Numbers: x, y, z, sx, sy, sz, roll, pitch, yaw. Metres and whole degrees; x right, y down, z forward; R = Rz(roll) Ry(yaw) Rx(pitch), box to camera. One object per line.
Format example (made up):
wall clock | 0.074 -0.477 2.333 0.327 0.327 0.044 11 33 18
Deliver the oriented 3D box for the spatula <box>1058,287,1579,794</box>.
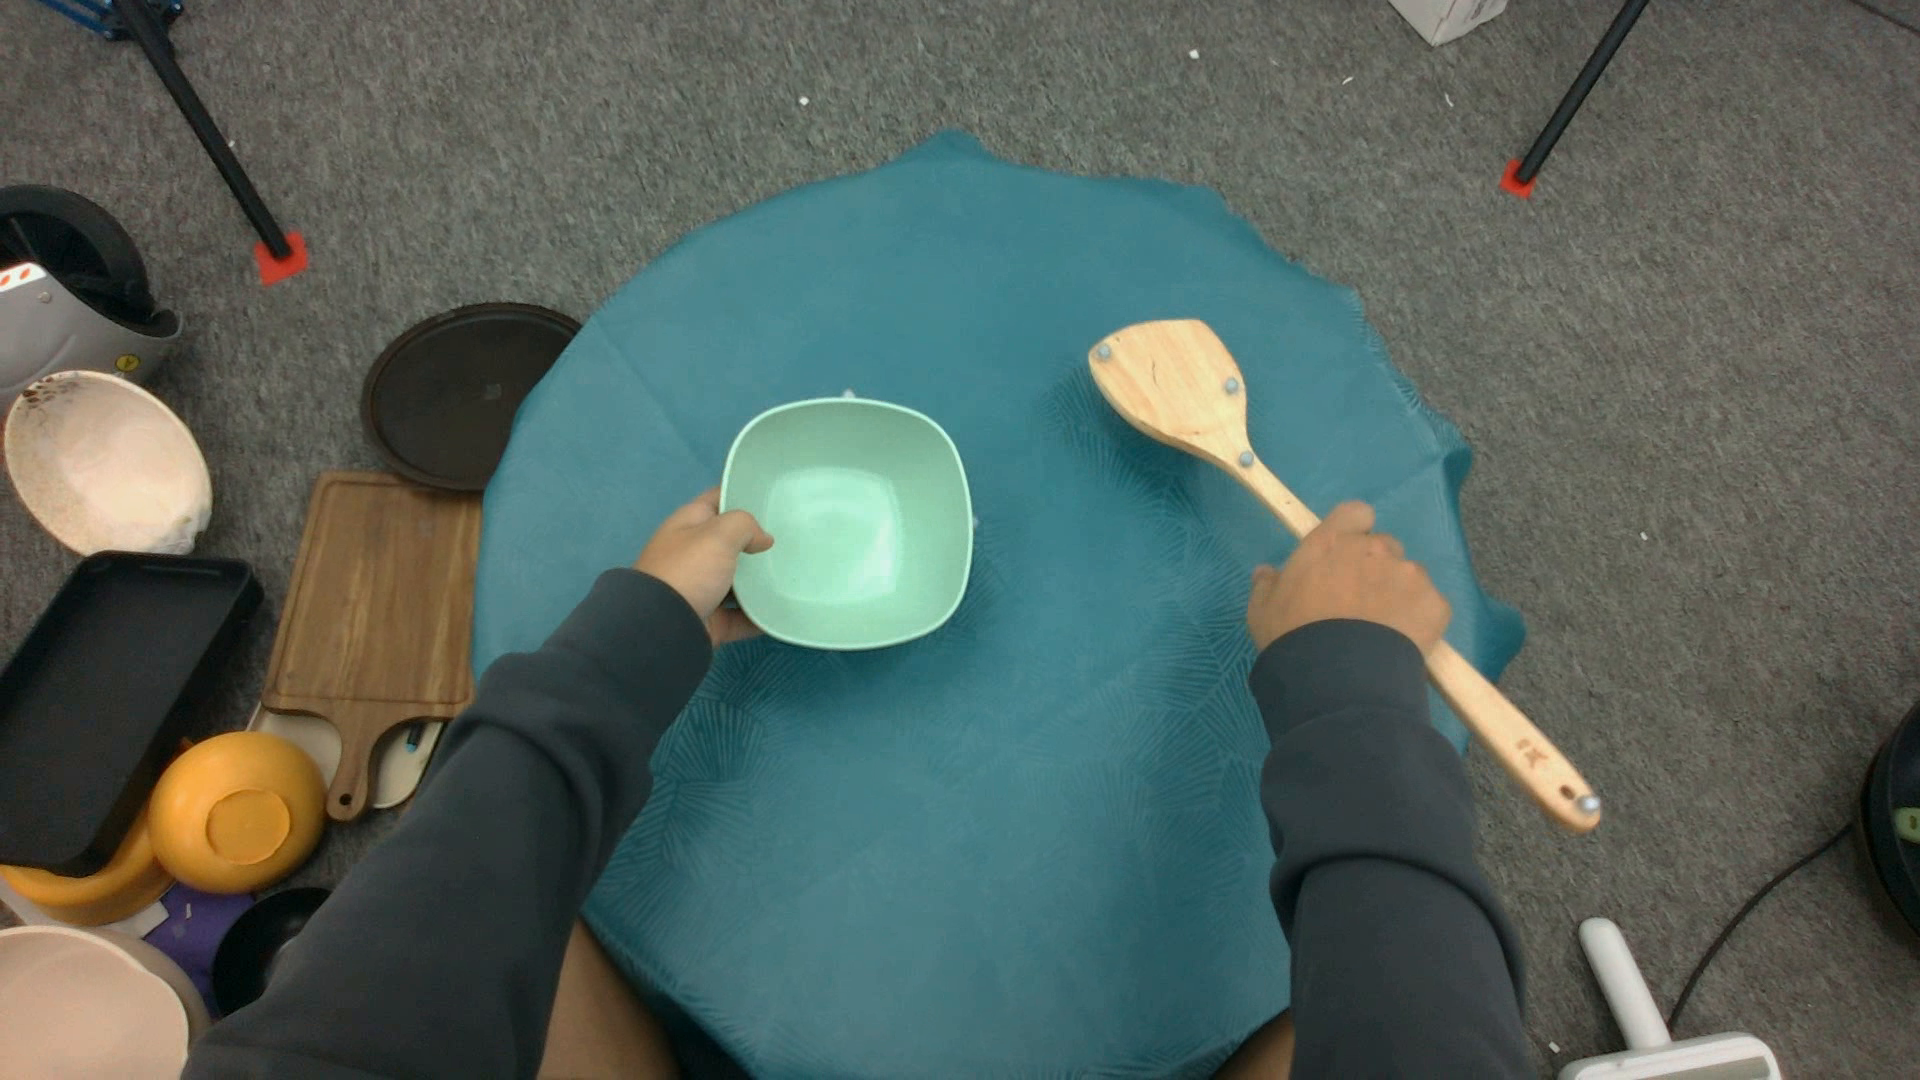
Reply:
spatula | 0.194 -0.015 0.765 0.096 0.018 0.391 -24 57 -25

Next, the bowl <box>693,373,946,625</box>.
bowl | -0.082 -0.018 0.764 0.151 0.058 0.152 4 77 -19
